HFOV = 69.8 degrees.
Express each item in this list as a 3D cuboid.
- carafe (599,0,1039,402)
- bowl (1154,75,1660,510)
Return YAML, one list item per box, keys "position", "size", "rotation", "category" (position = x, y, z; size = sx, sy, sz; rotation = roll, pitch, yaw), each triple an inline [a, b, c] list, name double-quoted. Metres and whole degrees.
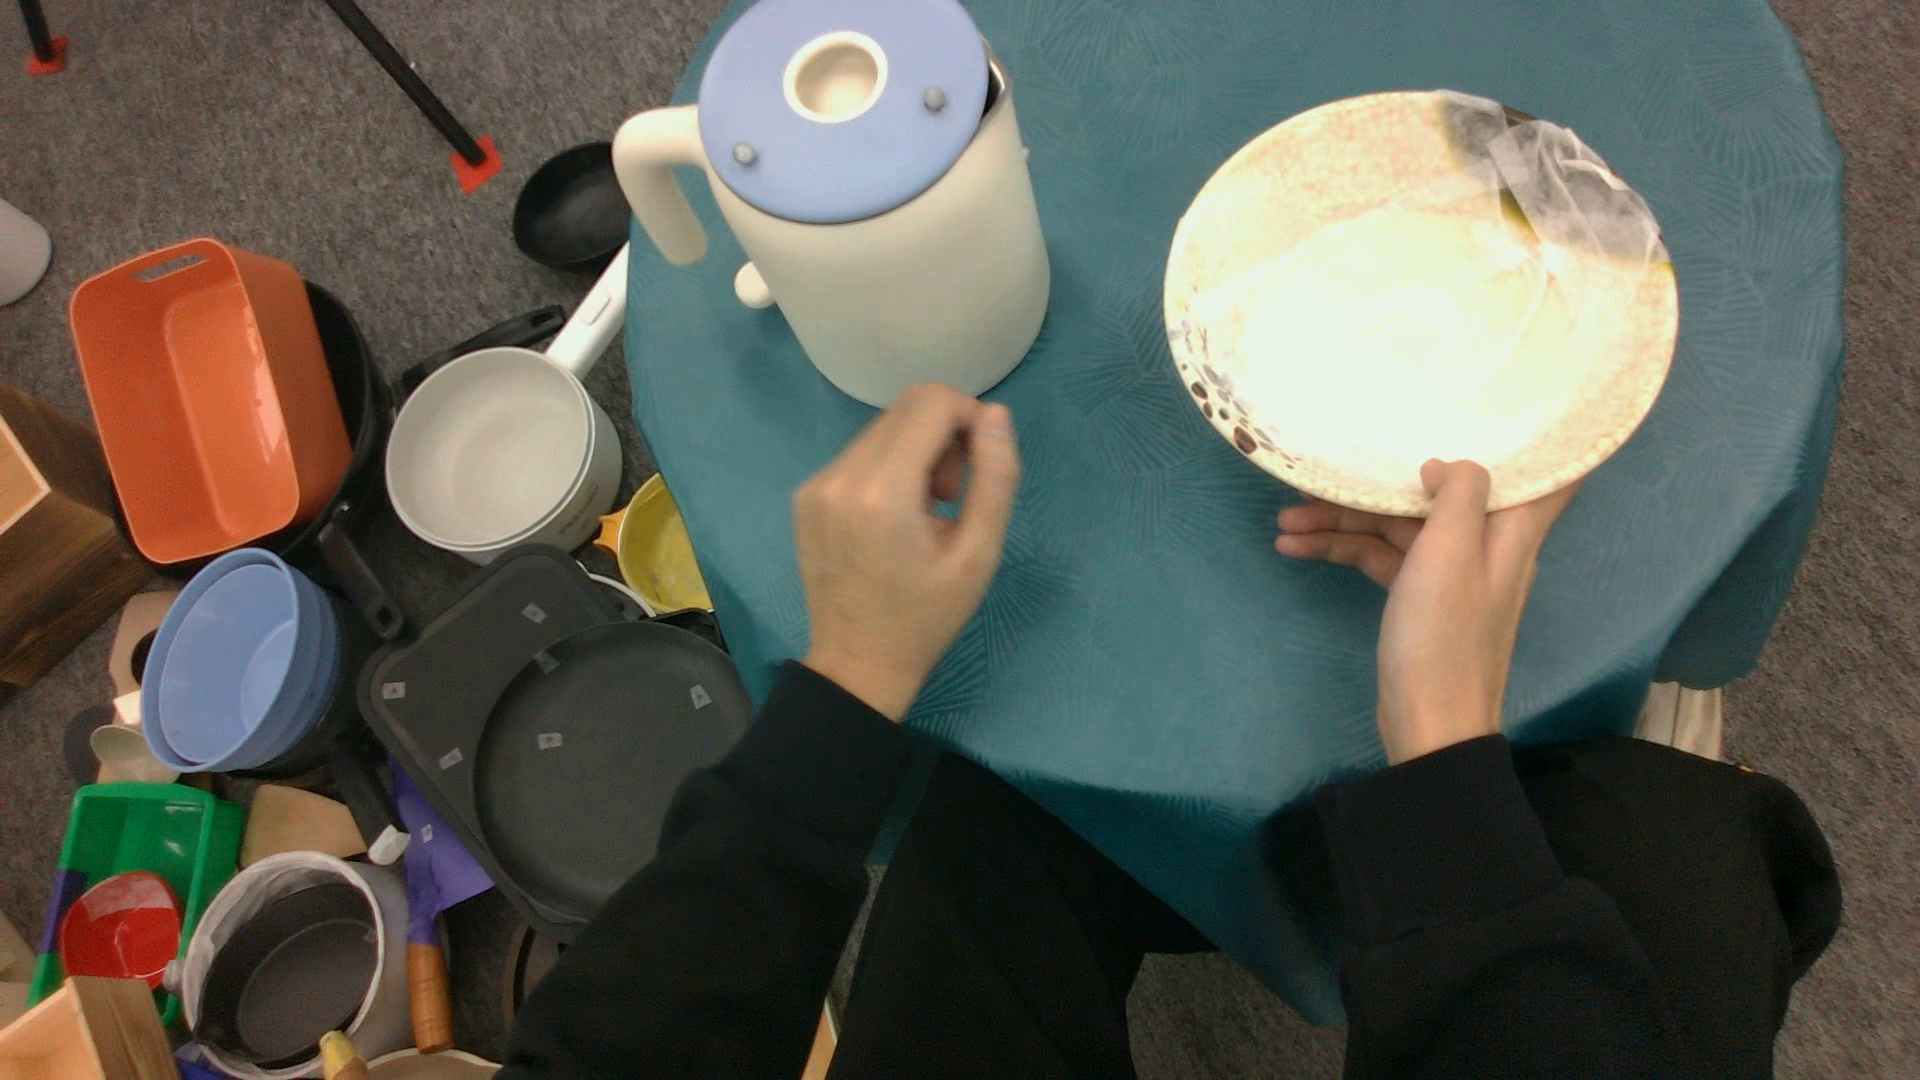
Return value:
- position: [-0.062, -0.154, 0.626]
  size: [0.191, 0.182, 0.132]
  rotation: [-2, 69, 12]
  category: "carafe"
- position: [0.189, -0.098, 0.610]
  size: [0.204, 0.078, 0.204]
  rotation: [-3, 71, 8]
  category: "bowl"
